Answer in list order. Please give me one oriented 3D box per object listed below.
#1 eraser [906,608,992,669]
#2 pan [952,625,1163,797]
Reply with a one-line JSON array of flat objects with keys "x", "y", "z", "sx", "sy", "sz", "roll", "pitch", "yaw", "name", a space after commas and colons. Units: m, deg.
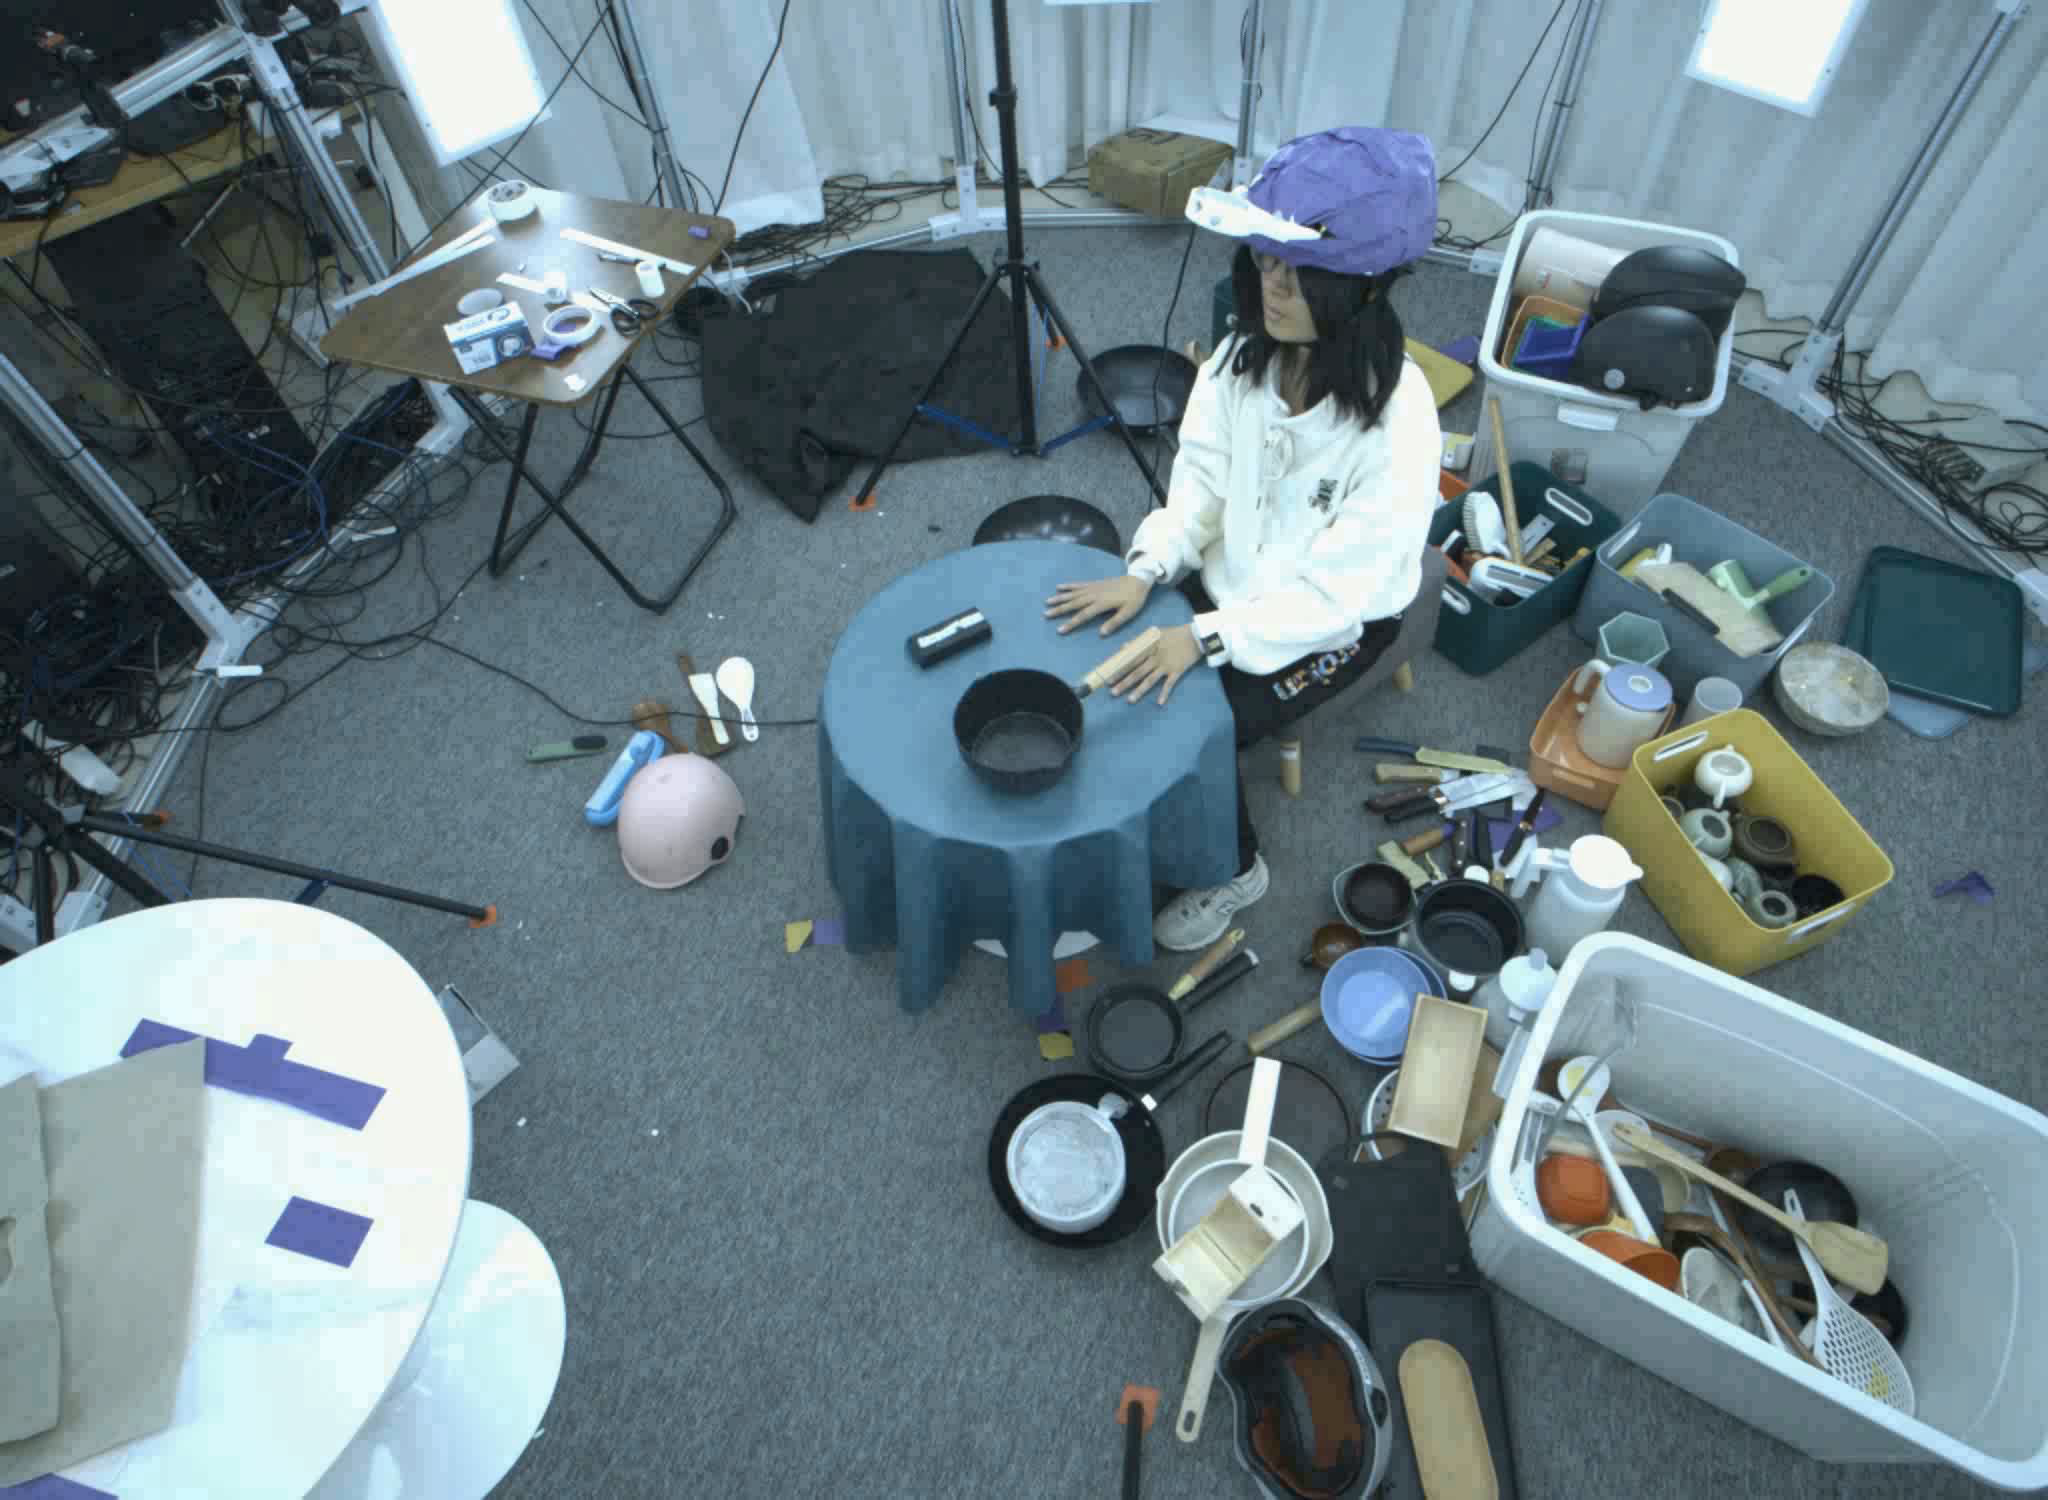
[{"x": -0.116, "y": -0.173, "z": 1.897, "sx": 0.126, "sy": 0.031, "sz": 0.052, "roll": -26, "pitch": 58, "yaw": -17, "name": "eraser"}, {"x": 0.058, "y": -0.066, "z": 1.766, "sx": 0.345, "sy": 0.109, "sz": 0.203, "roll": -32, "pitch": 59, "yaw": -17, "name": "pan"}]
